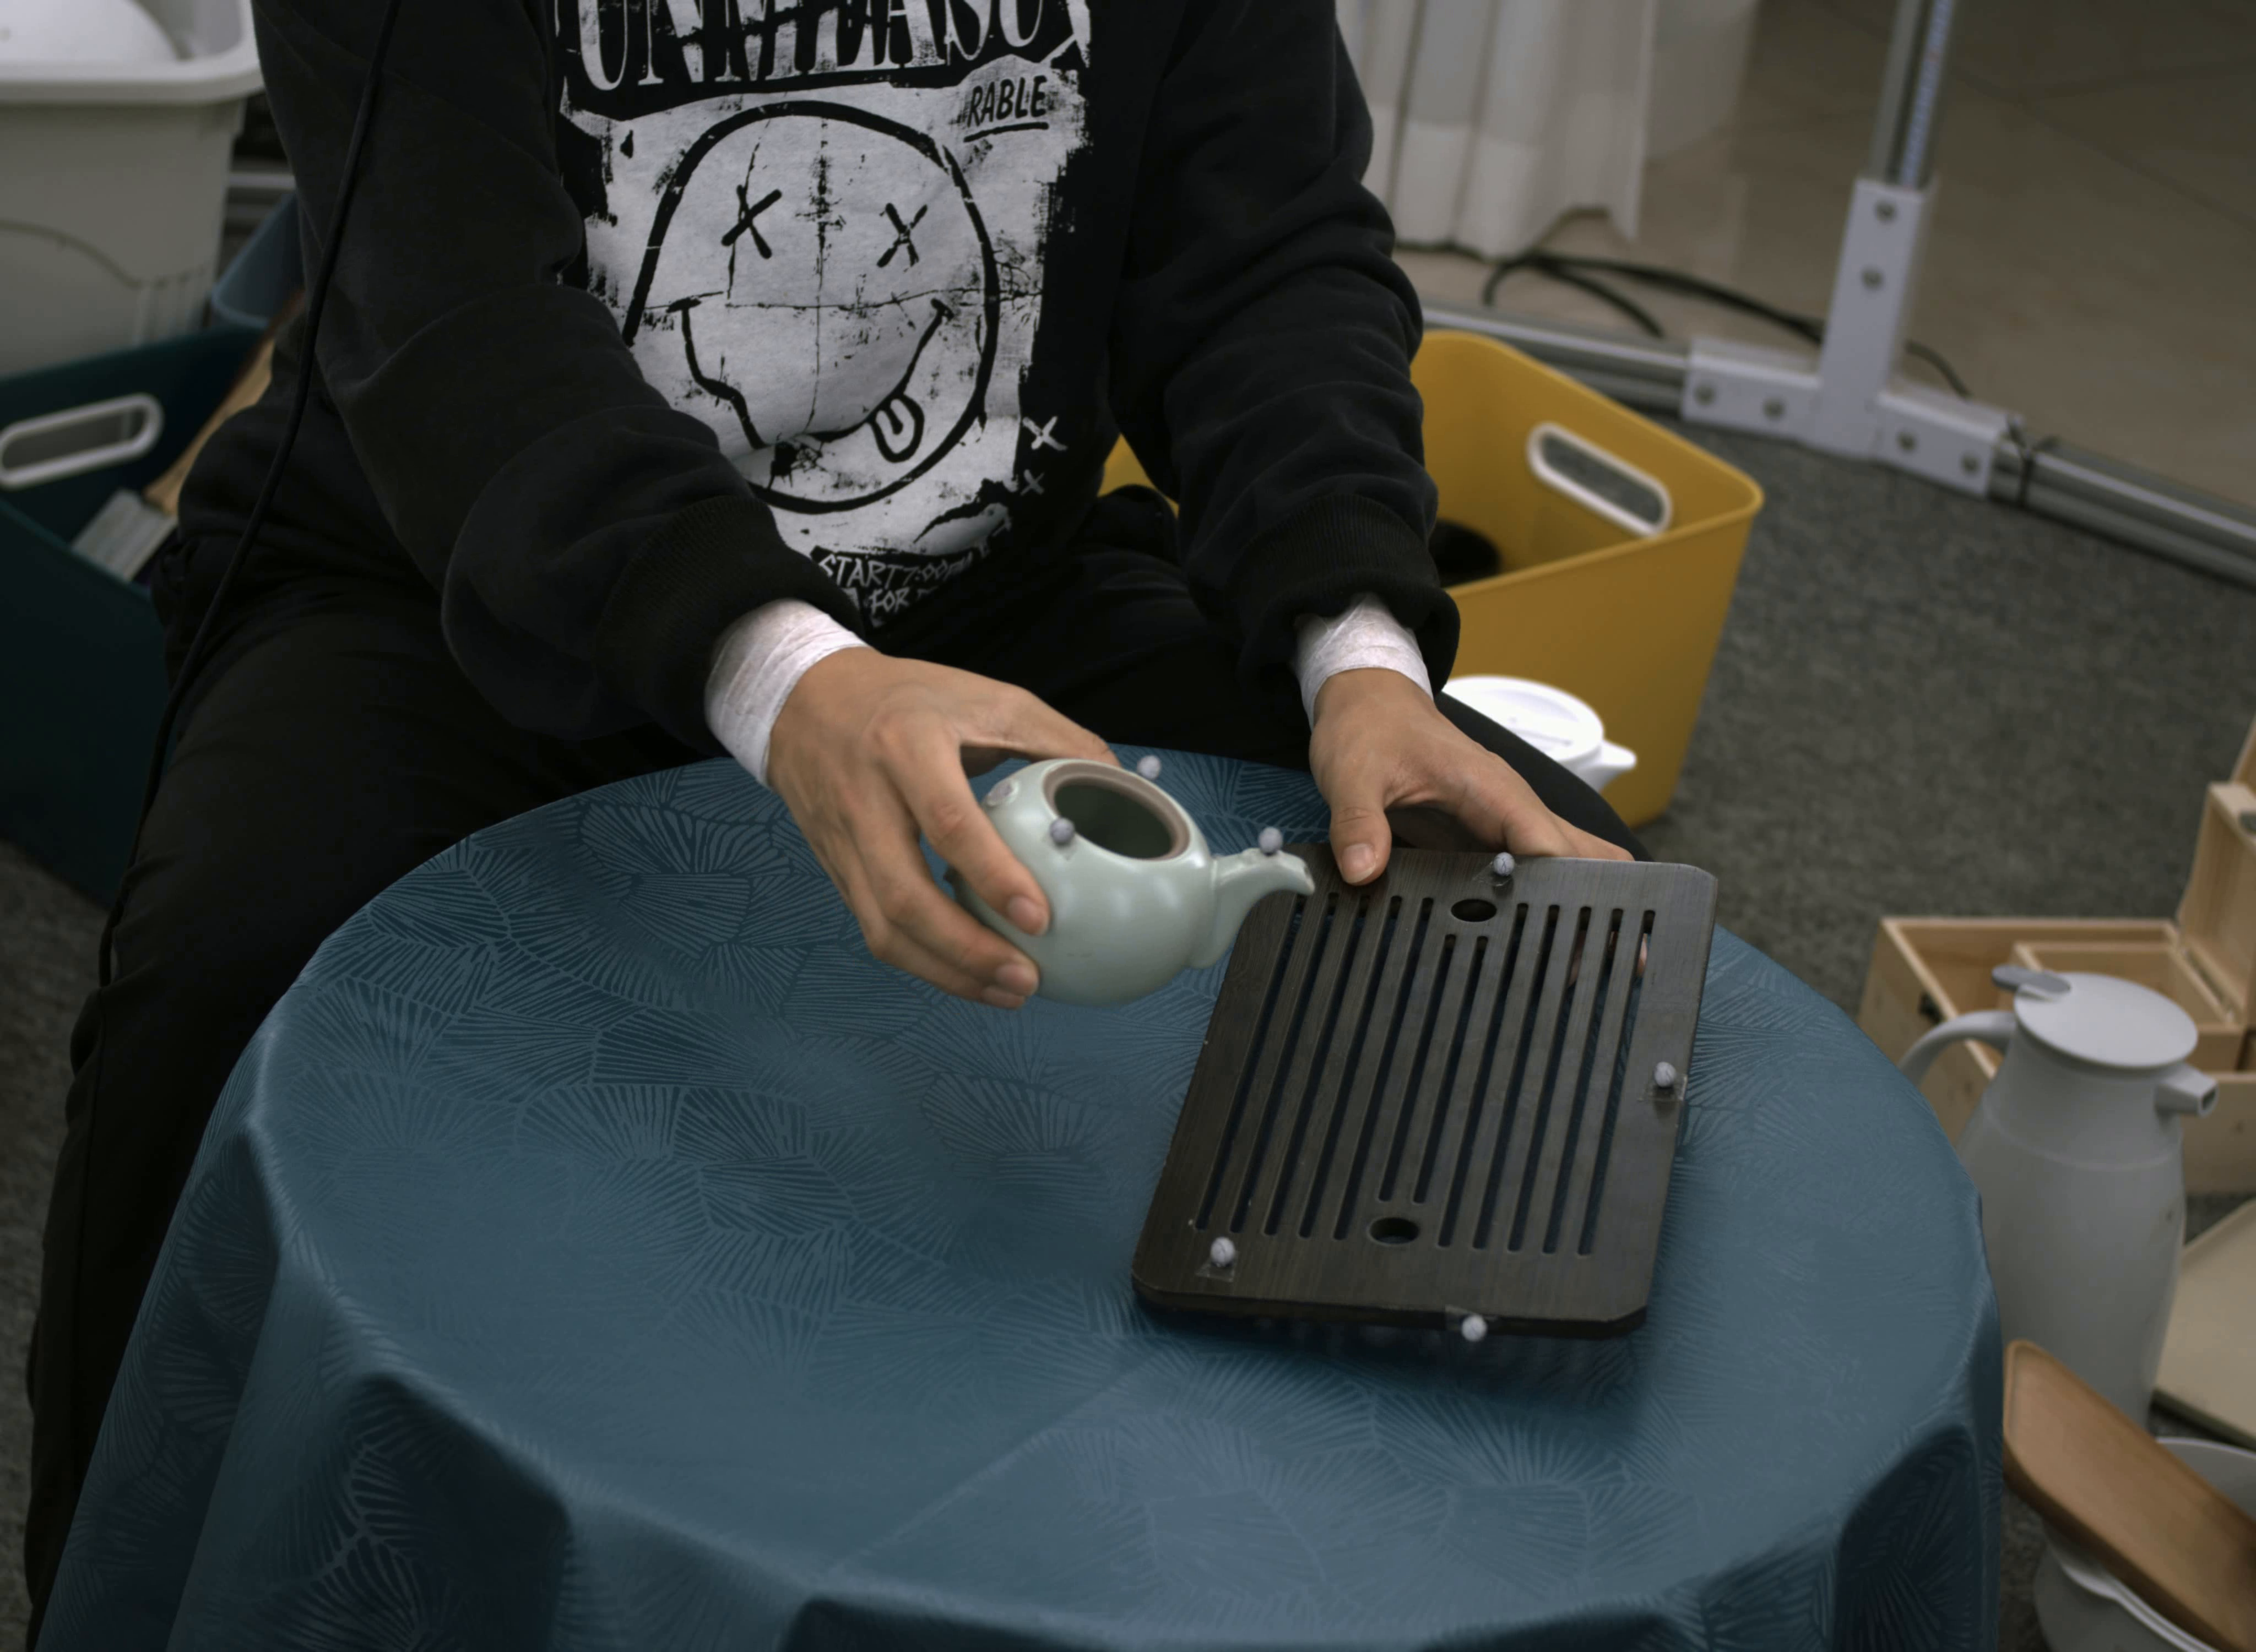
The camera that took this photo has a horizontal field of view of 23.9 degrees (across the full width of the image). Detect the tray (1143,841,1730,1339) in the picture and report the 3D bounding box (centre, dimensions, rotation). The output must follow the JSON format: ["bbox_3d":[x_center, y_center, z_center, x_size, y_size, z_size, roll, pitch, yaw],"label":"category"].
[{"bbox_3d":[0.113,0.088,1.843,0.170,0.018,0.307,3,29,10],"label":"tray"}]

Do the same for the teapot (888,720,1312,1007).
[{"bbox_3d":[-0.017,0.018,1.773,0.143,0.074,0.089,23,28,-9],"label":"teapot"}]
